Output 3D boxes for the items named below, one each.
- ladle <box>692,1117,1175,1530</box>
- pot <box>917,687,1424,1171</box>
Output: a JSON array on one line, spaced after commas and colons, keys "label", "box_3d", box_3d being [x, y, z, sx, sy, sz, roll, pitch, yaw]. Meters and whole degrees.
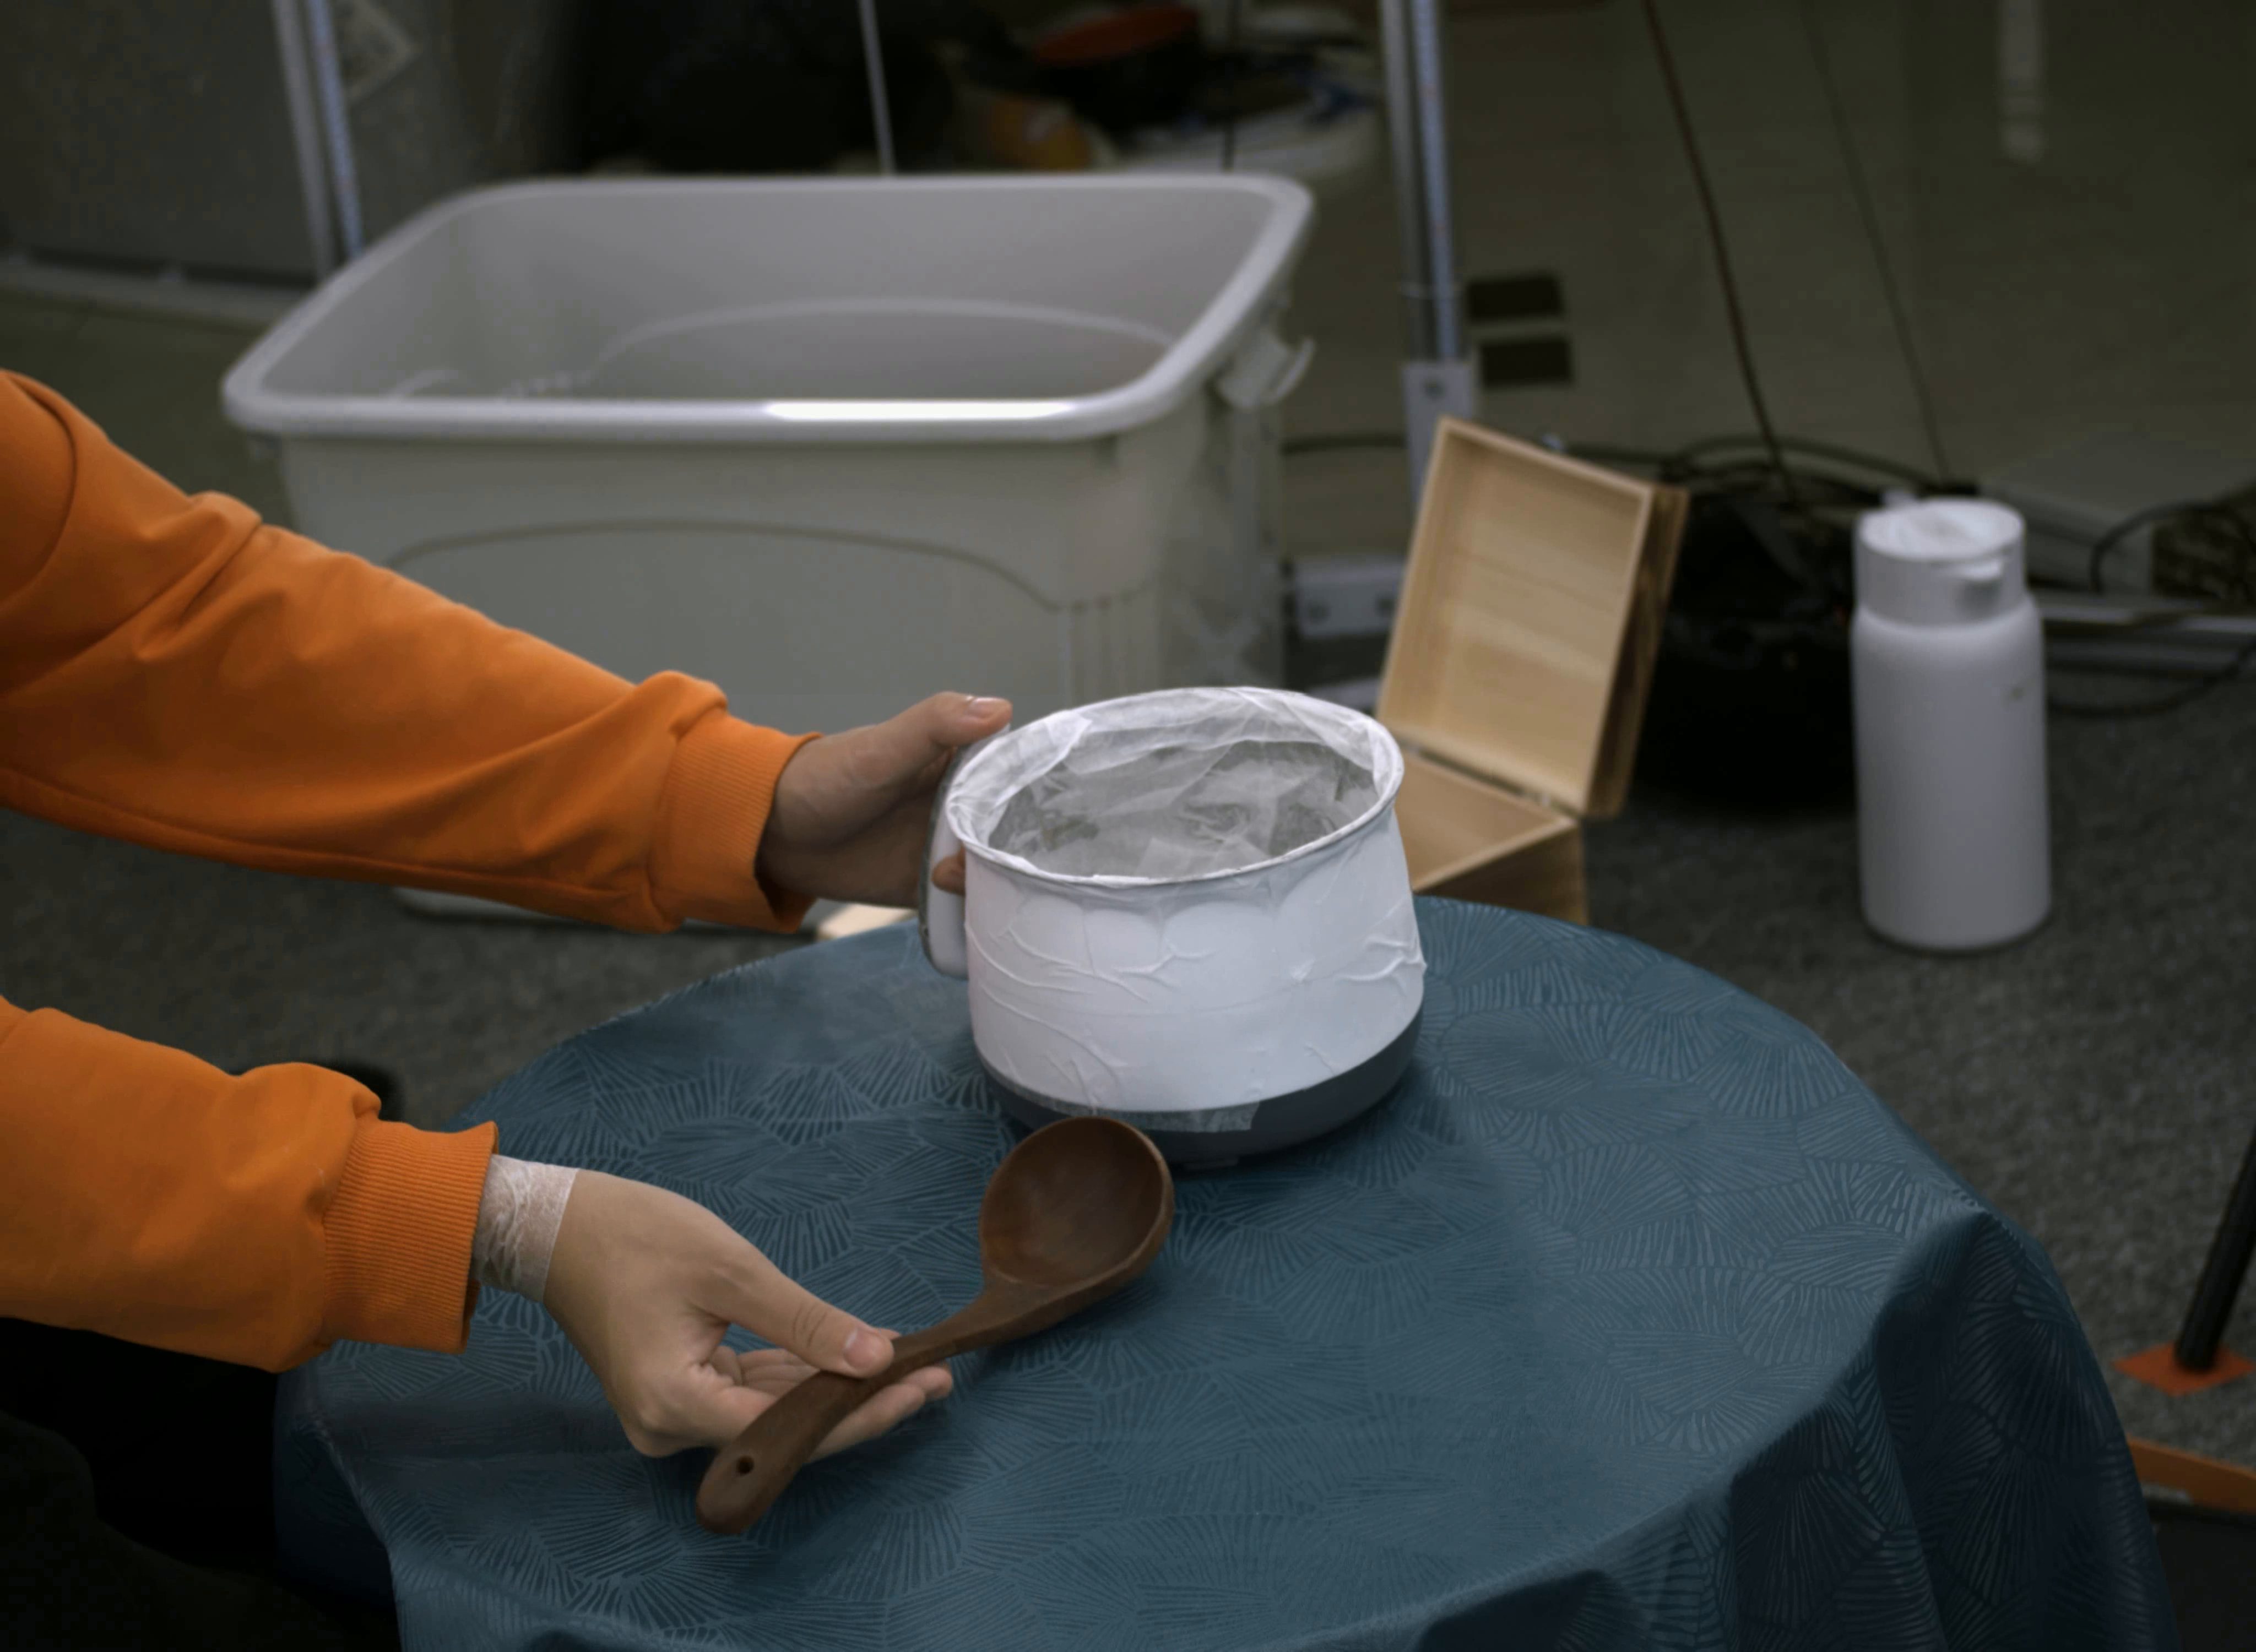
[{"label": "ladle", "box_3d": [-0.072, 0.171, 1.999, 0.076, 0.066, 0.258, 7, 21, 34]}, {"label": "pot", "box_3d": [0.004, 0.034, 2.206, 0.232, 0.139, 0.177, 17, 34, 40]}]
